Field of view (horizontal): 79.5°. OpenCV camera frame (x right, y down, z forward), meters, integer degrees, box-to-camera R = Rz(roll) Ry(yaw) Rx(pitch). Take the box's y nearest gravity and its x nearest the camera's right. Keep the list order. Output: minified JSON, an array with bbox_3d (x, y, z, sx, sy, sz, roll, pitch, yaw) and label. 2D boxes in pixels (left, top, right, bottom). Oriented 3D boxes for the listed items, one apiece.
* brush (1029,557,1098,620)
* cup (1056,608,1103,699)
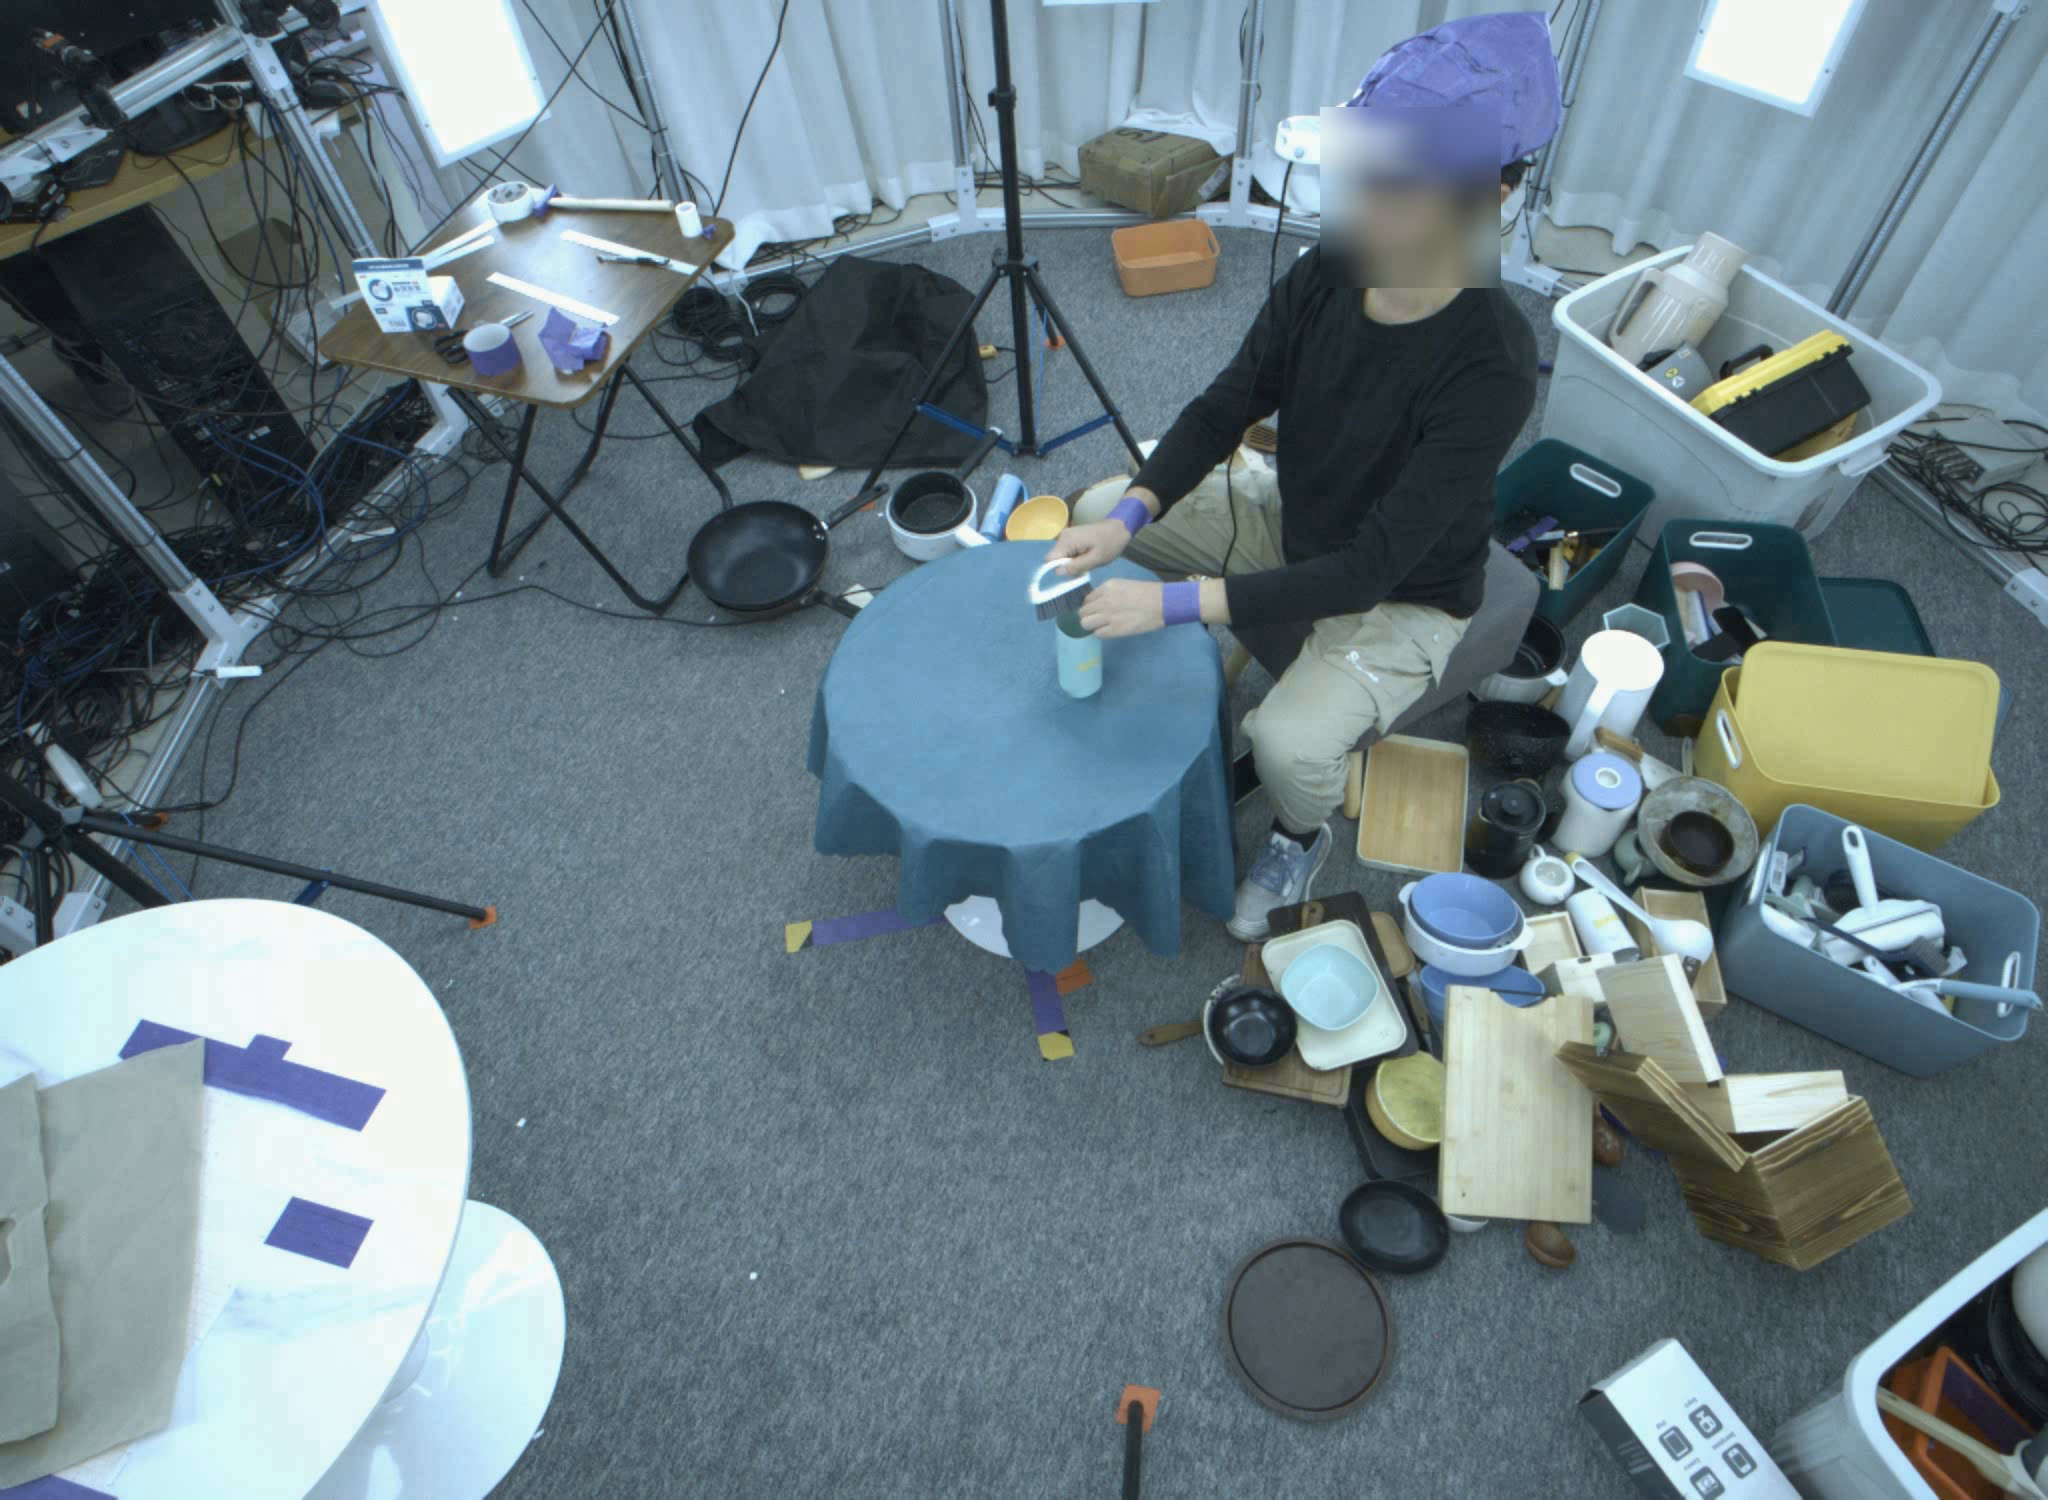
[{"bbox_3d":[0.052,-0.237,1.762,0.100,0.073,0.049,-28,17,-22],"label":"brush"},{"bbox_3d":[0.082,-0.141,1.811,0.066,0.134,0.066,-2,54,4],"label":"cup"}]
